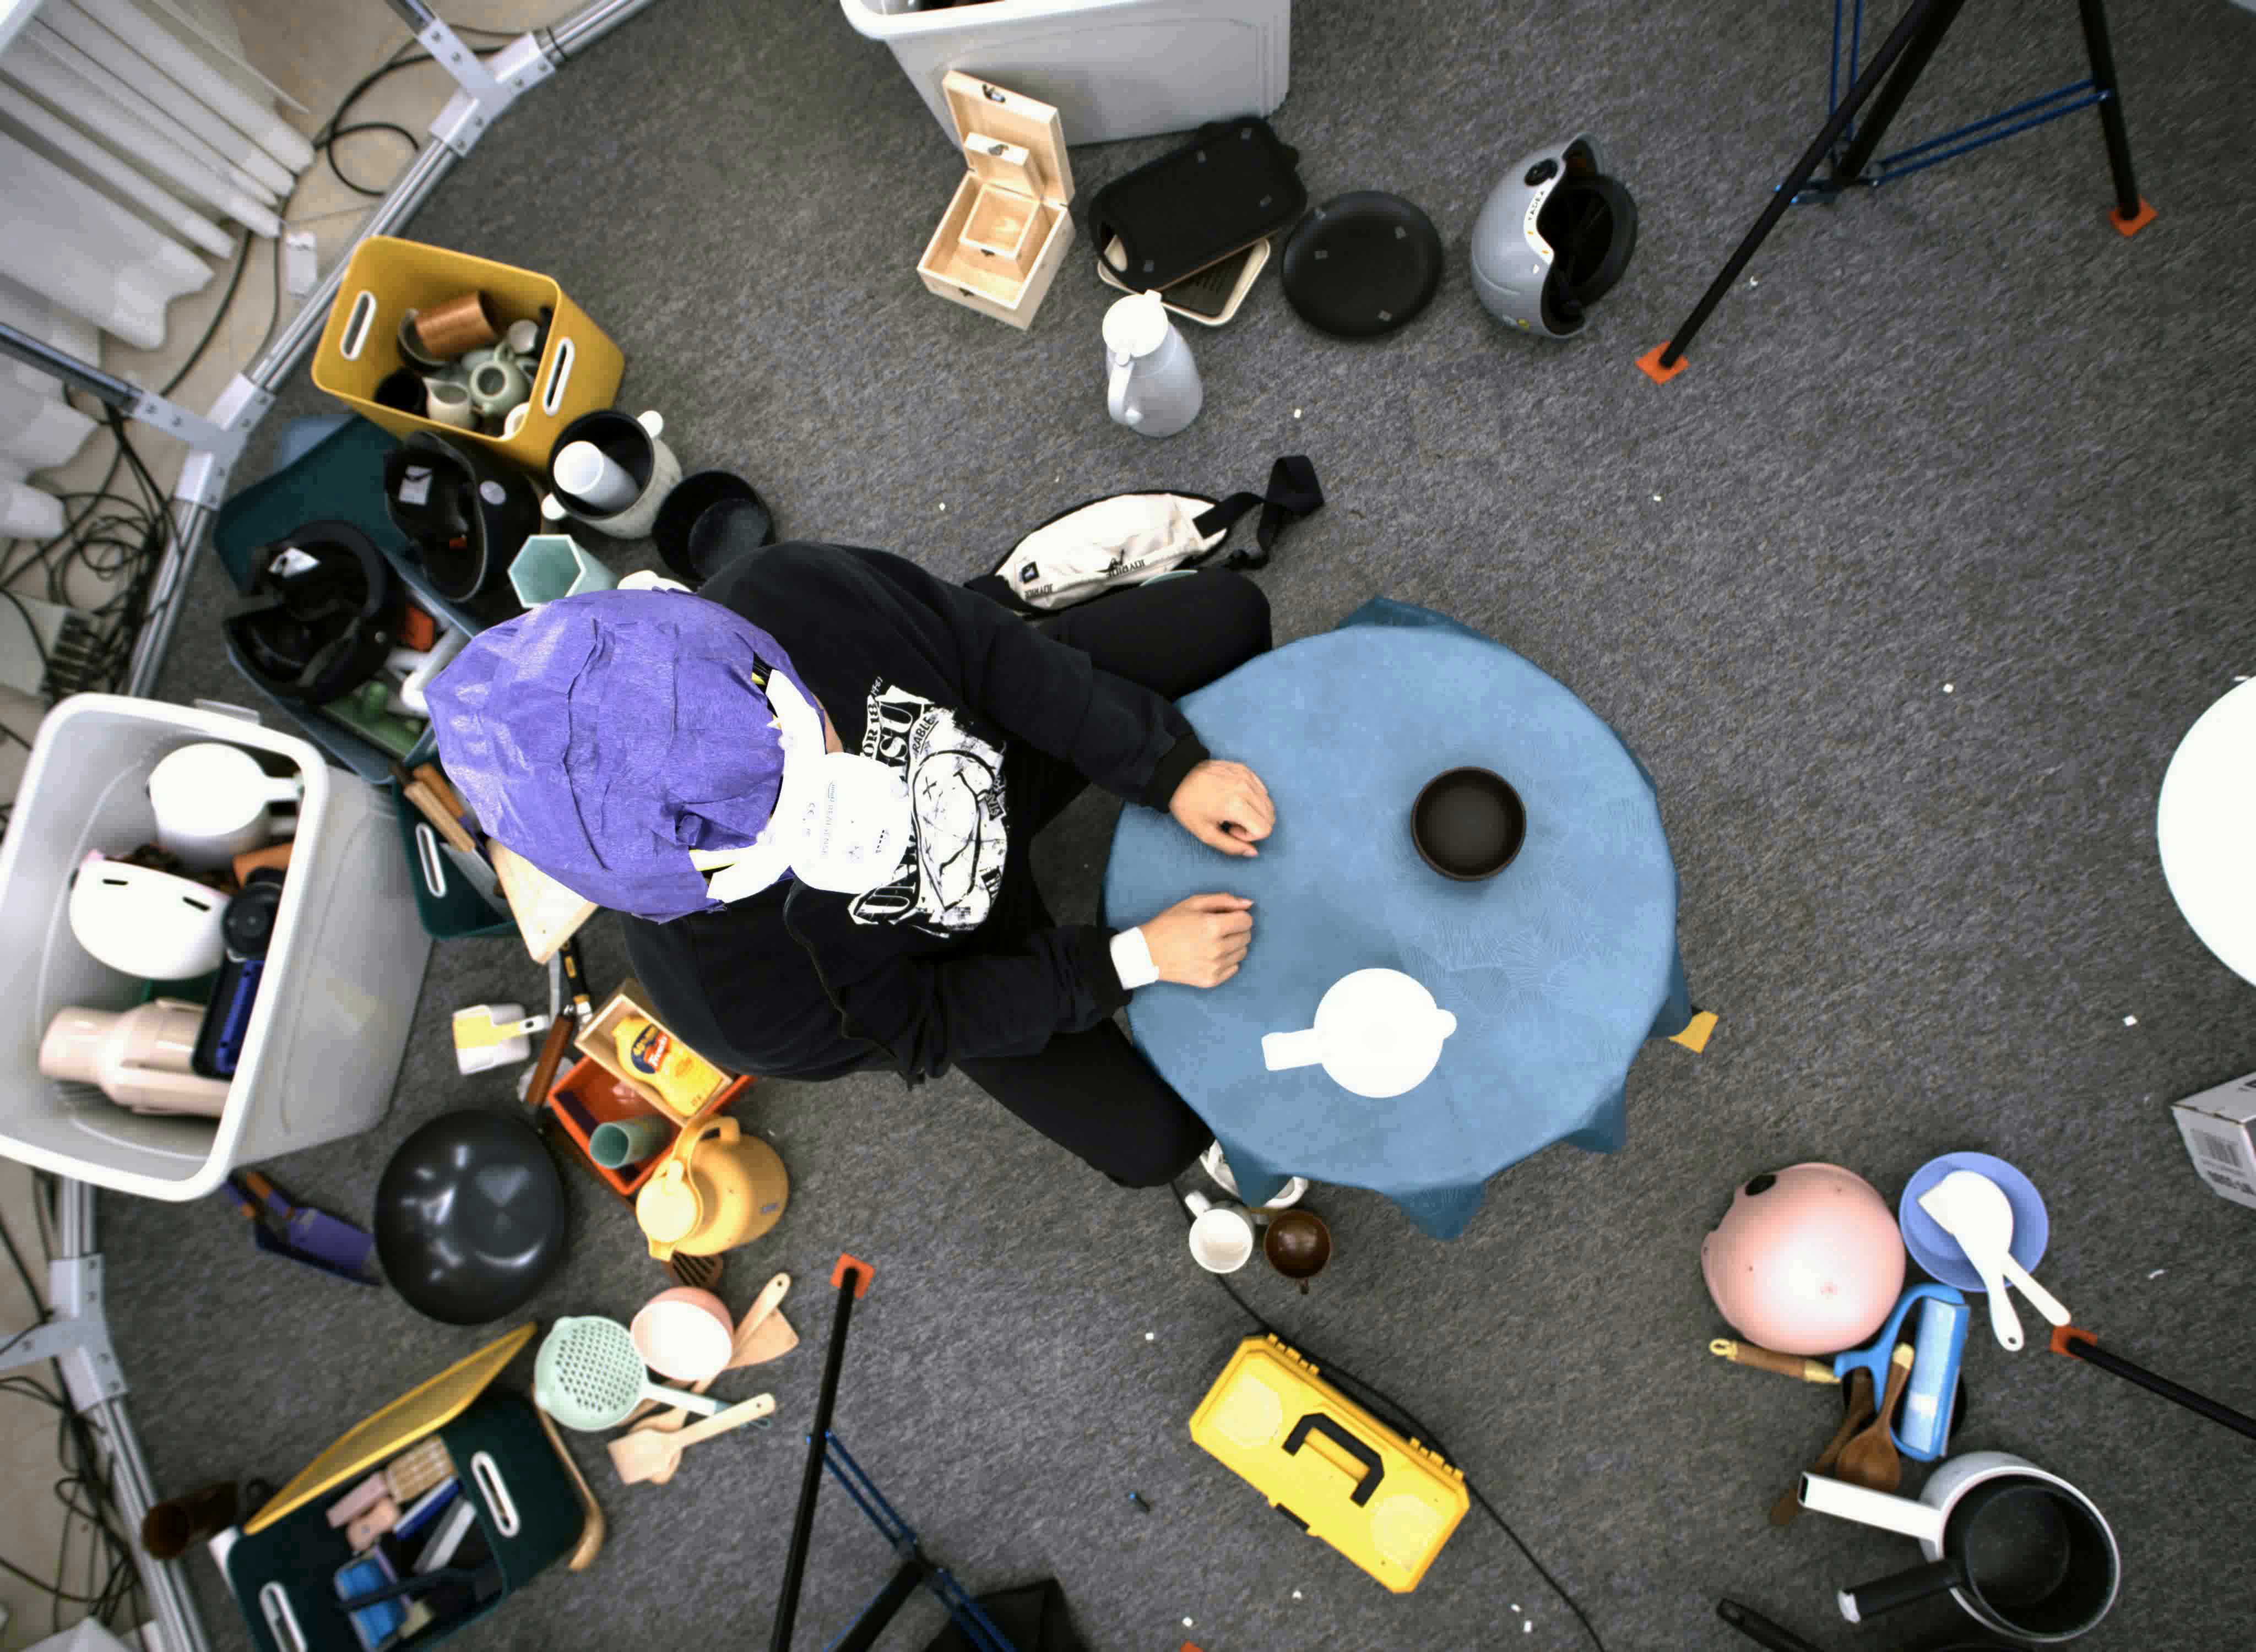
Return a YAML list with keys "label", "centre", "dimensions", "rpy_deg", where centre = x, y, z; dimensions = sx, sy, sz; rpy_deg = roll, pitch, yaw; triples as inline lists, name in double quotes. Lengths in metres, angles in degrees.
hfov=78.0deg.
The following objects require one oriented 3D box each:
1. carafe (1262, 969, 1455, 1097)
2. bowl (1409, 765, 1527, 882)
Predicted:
- label: "carafe"
  centre: [0.221, 0.200, 1.329]
  dimensions: [0.174, 0.269, 0.123]
  rpy_deg: [-13, 84, 9]
- label: "bowl"
  centre: [0.347, -0.003, 1.412]
  dimensions: [0.118, 0.070, 0.117]
  rpy_deg: [-1, 87, 11]
